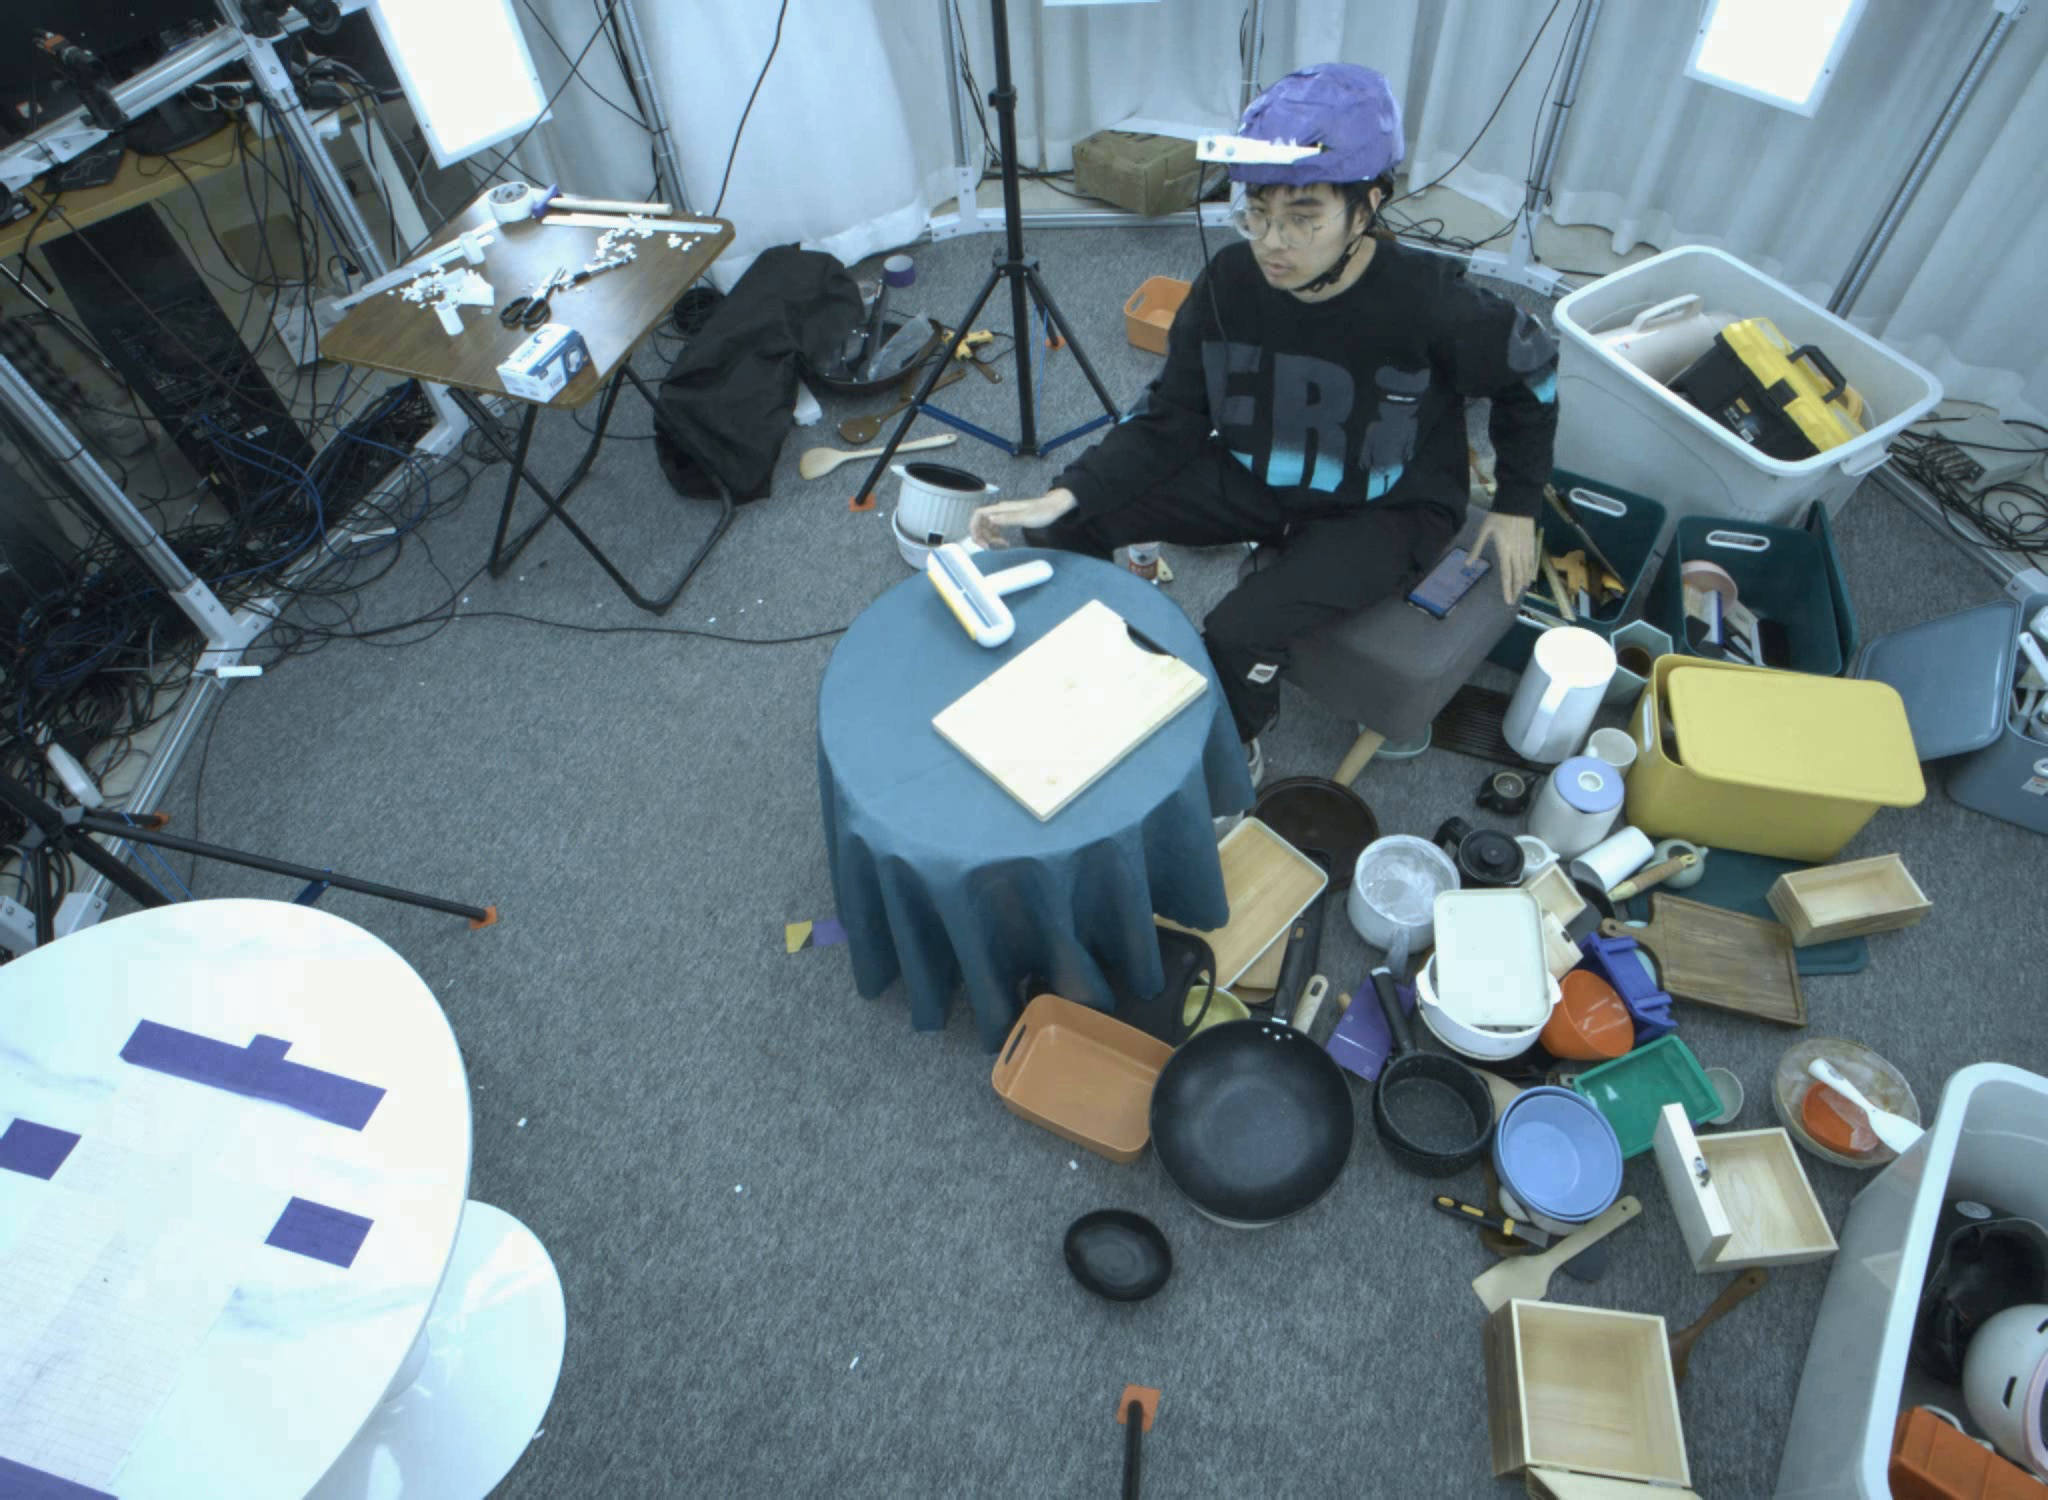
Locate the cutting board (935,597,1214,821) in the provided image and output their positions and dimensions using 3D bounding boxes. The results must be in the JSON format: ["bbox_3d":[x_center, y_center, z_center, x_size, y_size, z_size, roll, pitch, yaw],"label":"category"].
[{"bbox_3d":[0.073,-0.071,1.821,0.351,0.024,0.246,-39,62,-23],"label":"cutting board"}]

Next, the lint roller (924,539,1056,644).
[{"bbox_3d":[-0.037,-0.265,1.931,0.194,0.075,0.189,-25,63,-17],"label":"lint roller"}]
